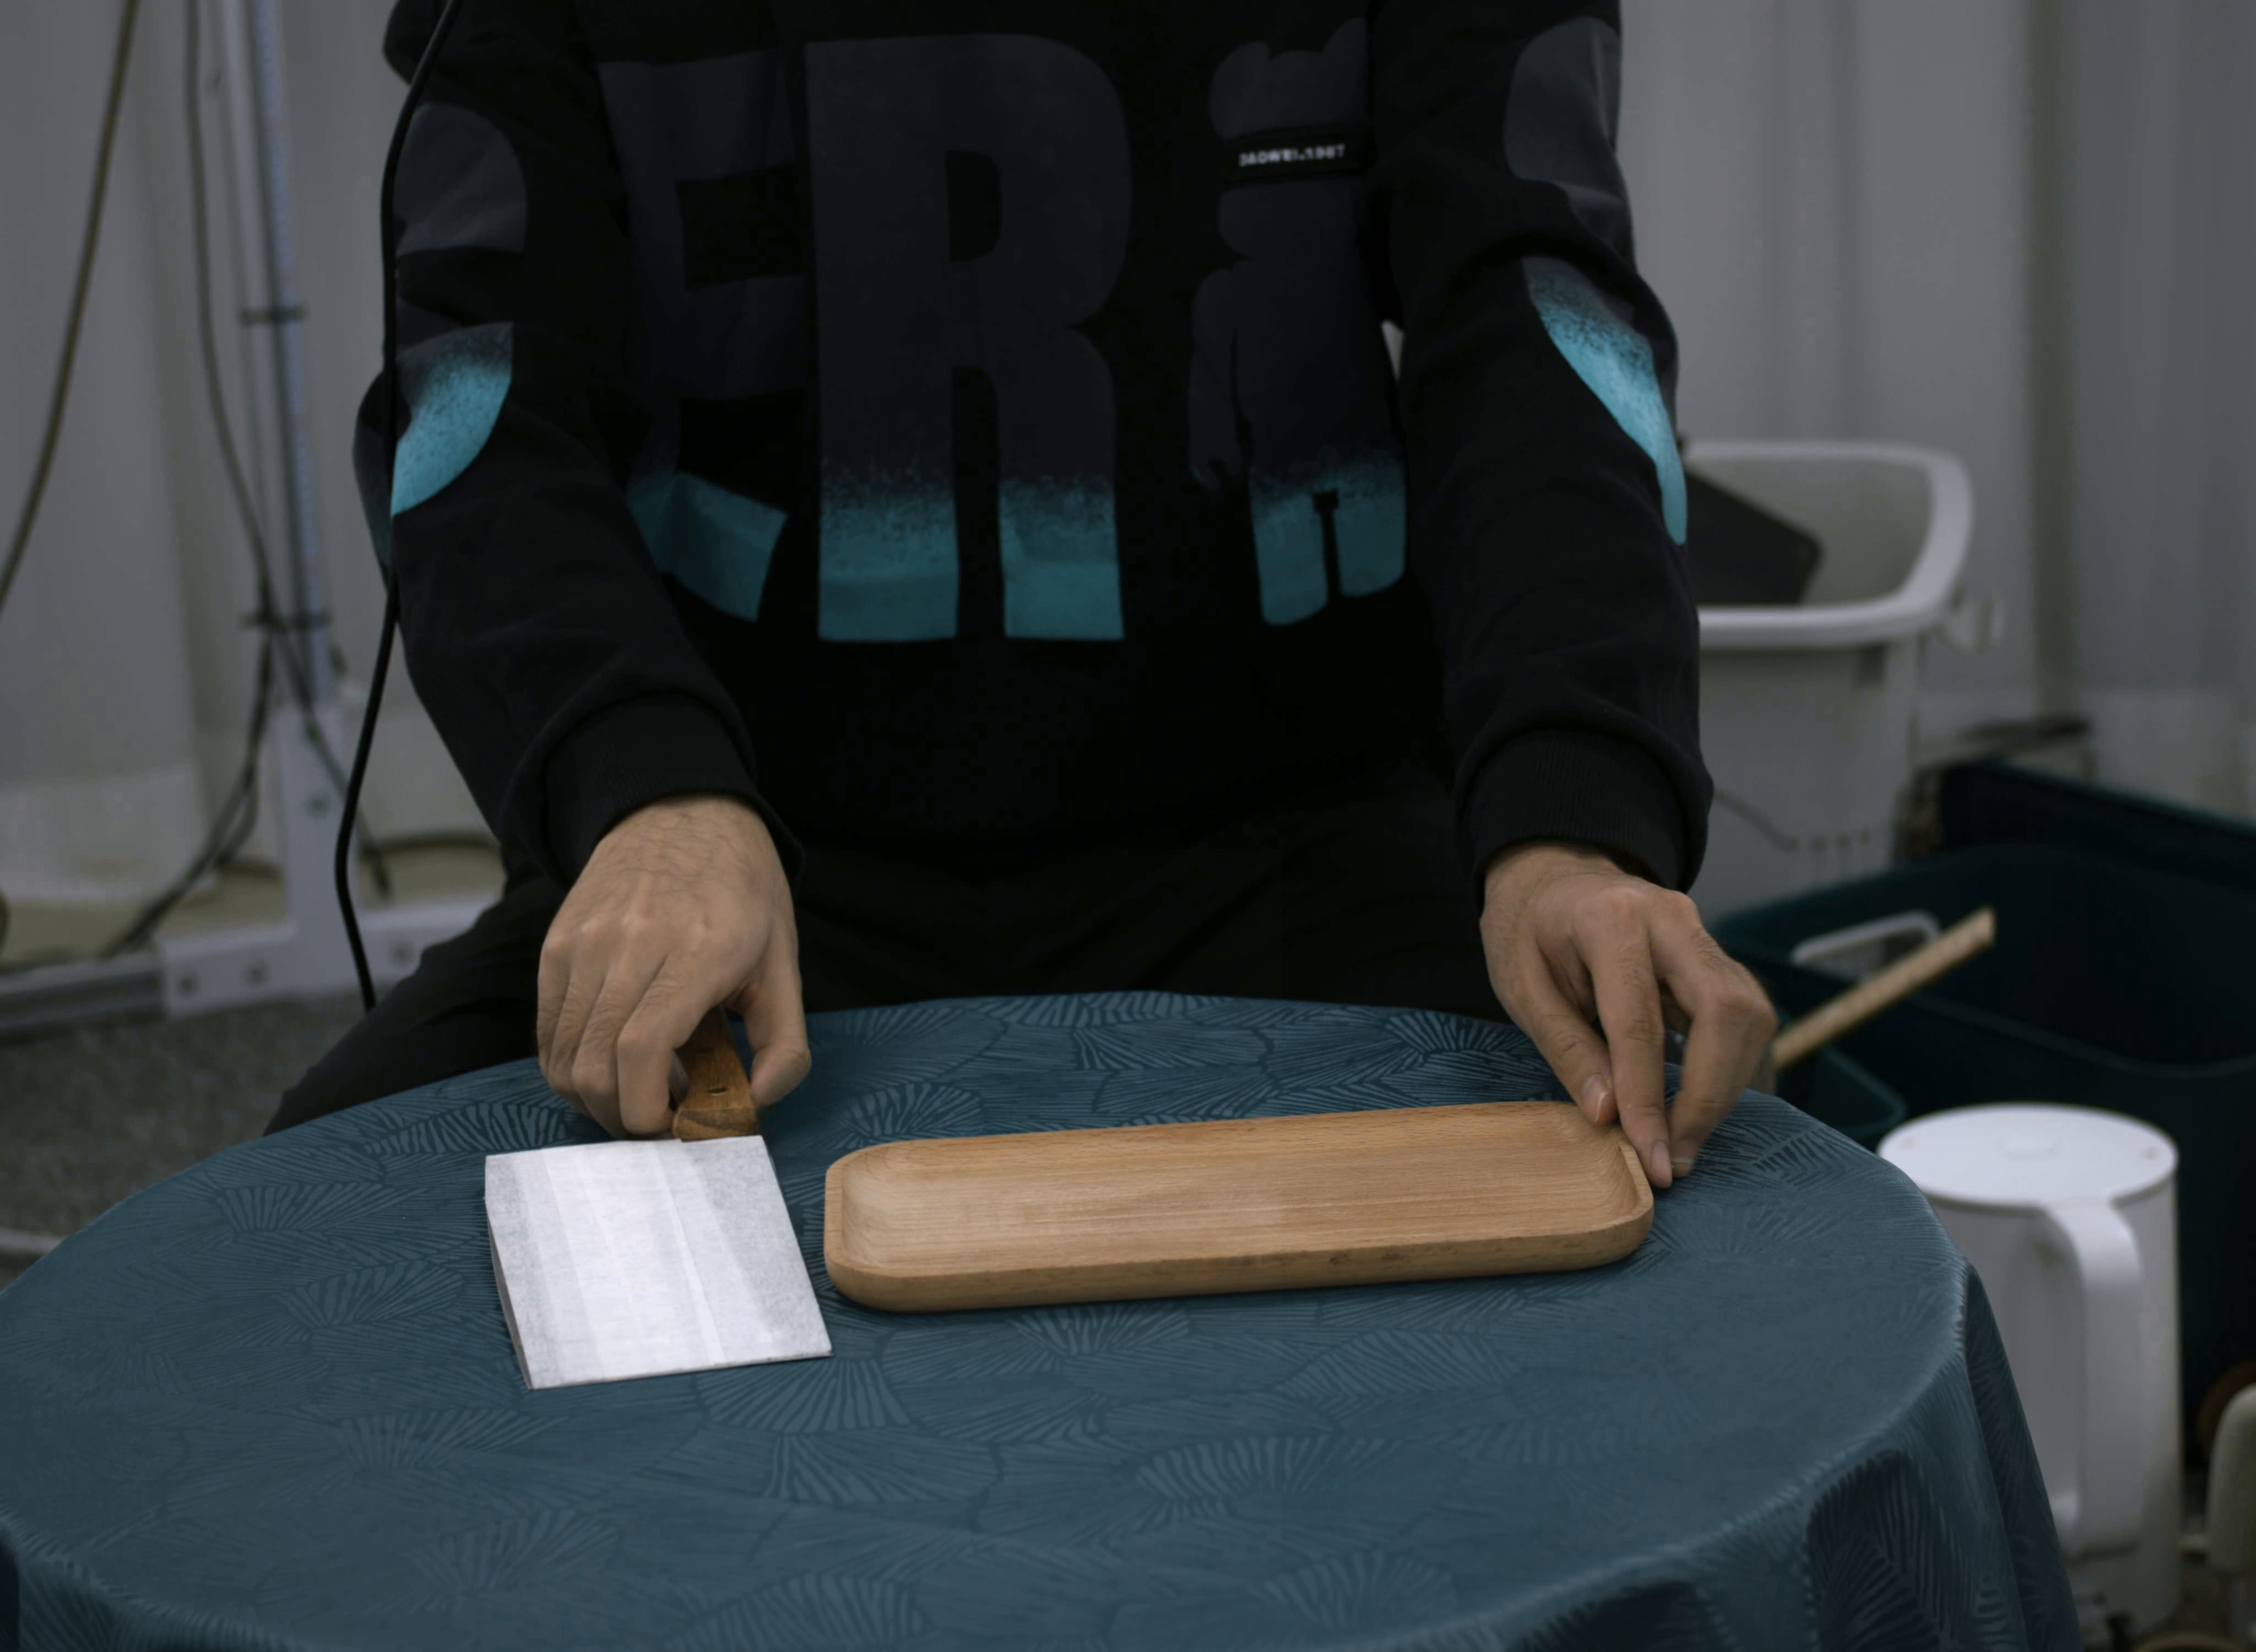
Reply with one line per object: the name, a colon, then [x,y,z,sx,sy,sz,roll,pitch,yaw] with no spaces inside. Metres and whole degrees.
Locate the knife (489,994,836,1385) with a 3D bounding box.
knife: [-0.153,0.113,1.721,0.092,0.021,0.308,-6,18,-8]

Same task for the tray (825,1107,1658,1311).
tray: [0.033,0.117,1.671,0.250,0.023,0.131,-2,17,0]
